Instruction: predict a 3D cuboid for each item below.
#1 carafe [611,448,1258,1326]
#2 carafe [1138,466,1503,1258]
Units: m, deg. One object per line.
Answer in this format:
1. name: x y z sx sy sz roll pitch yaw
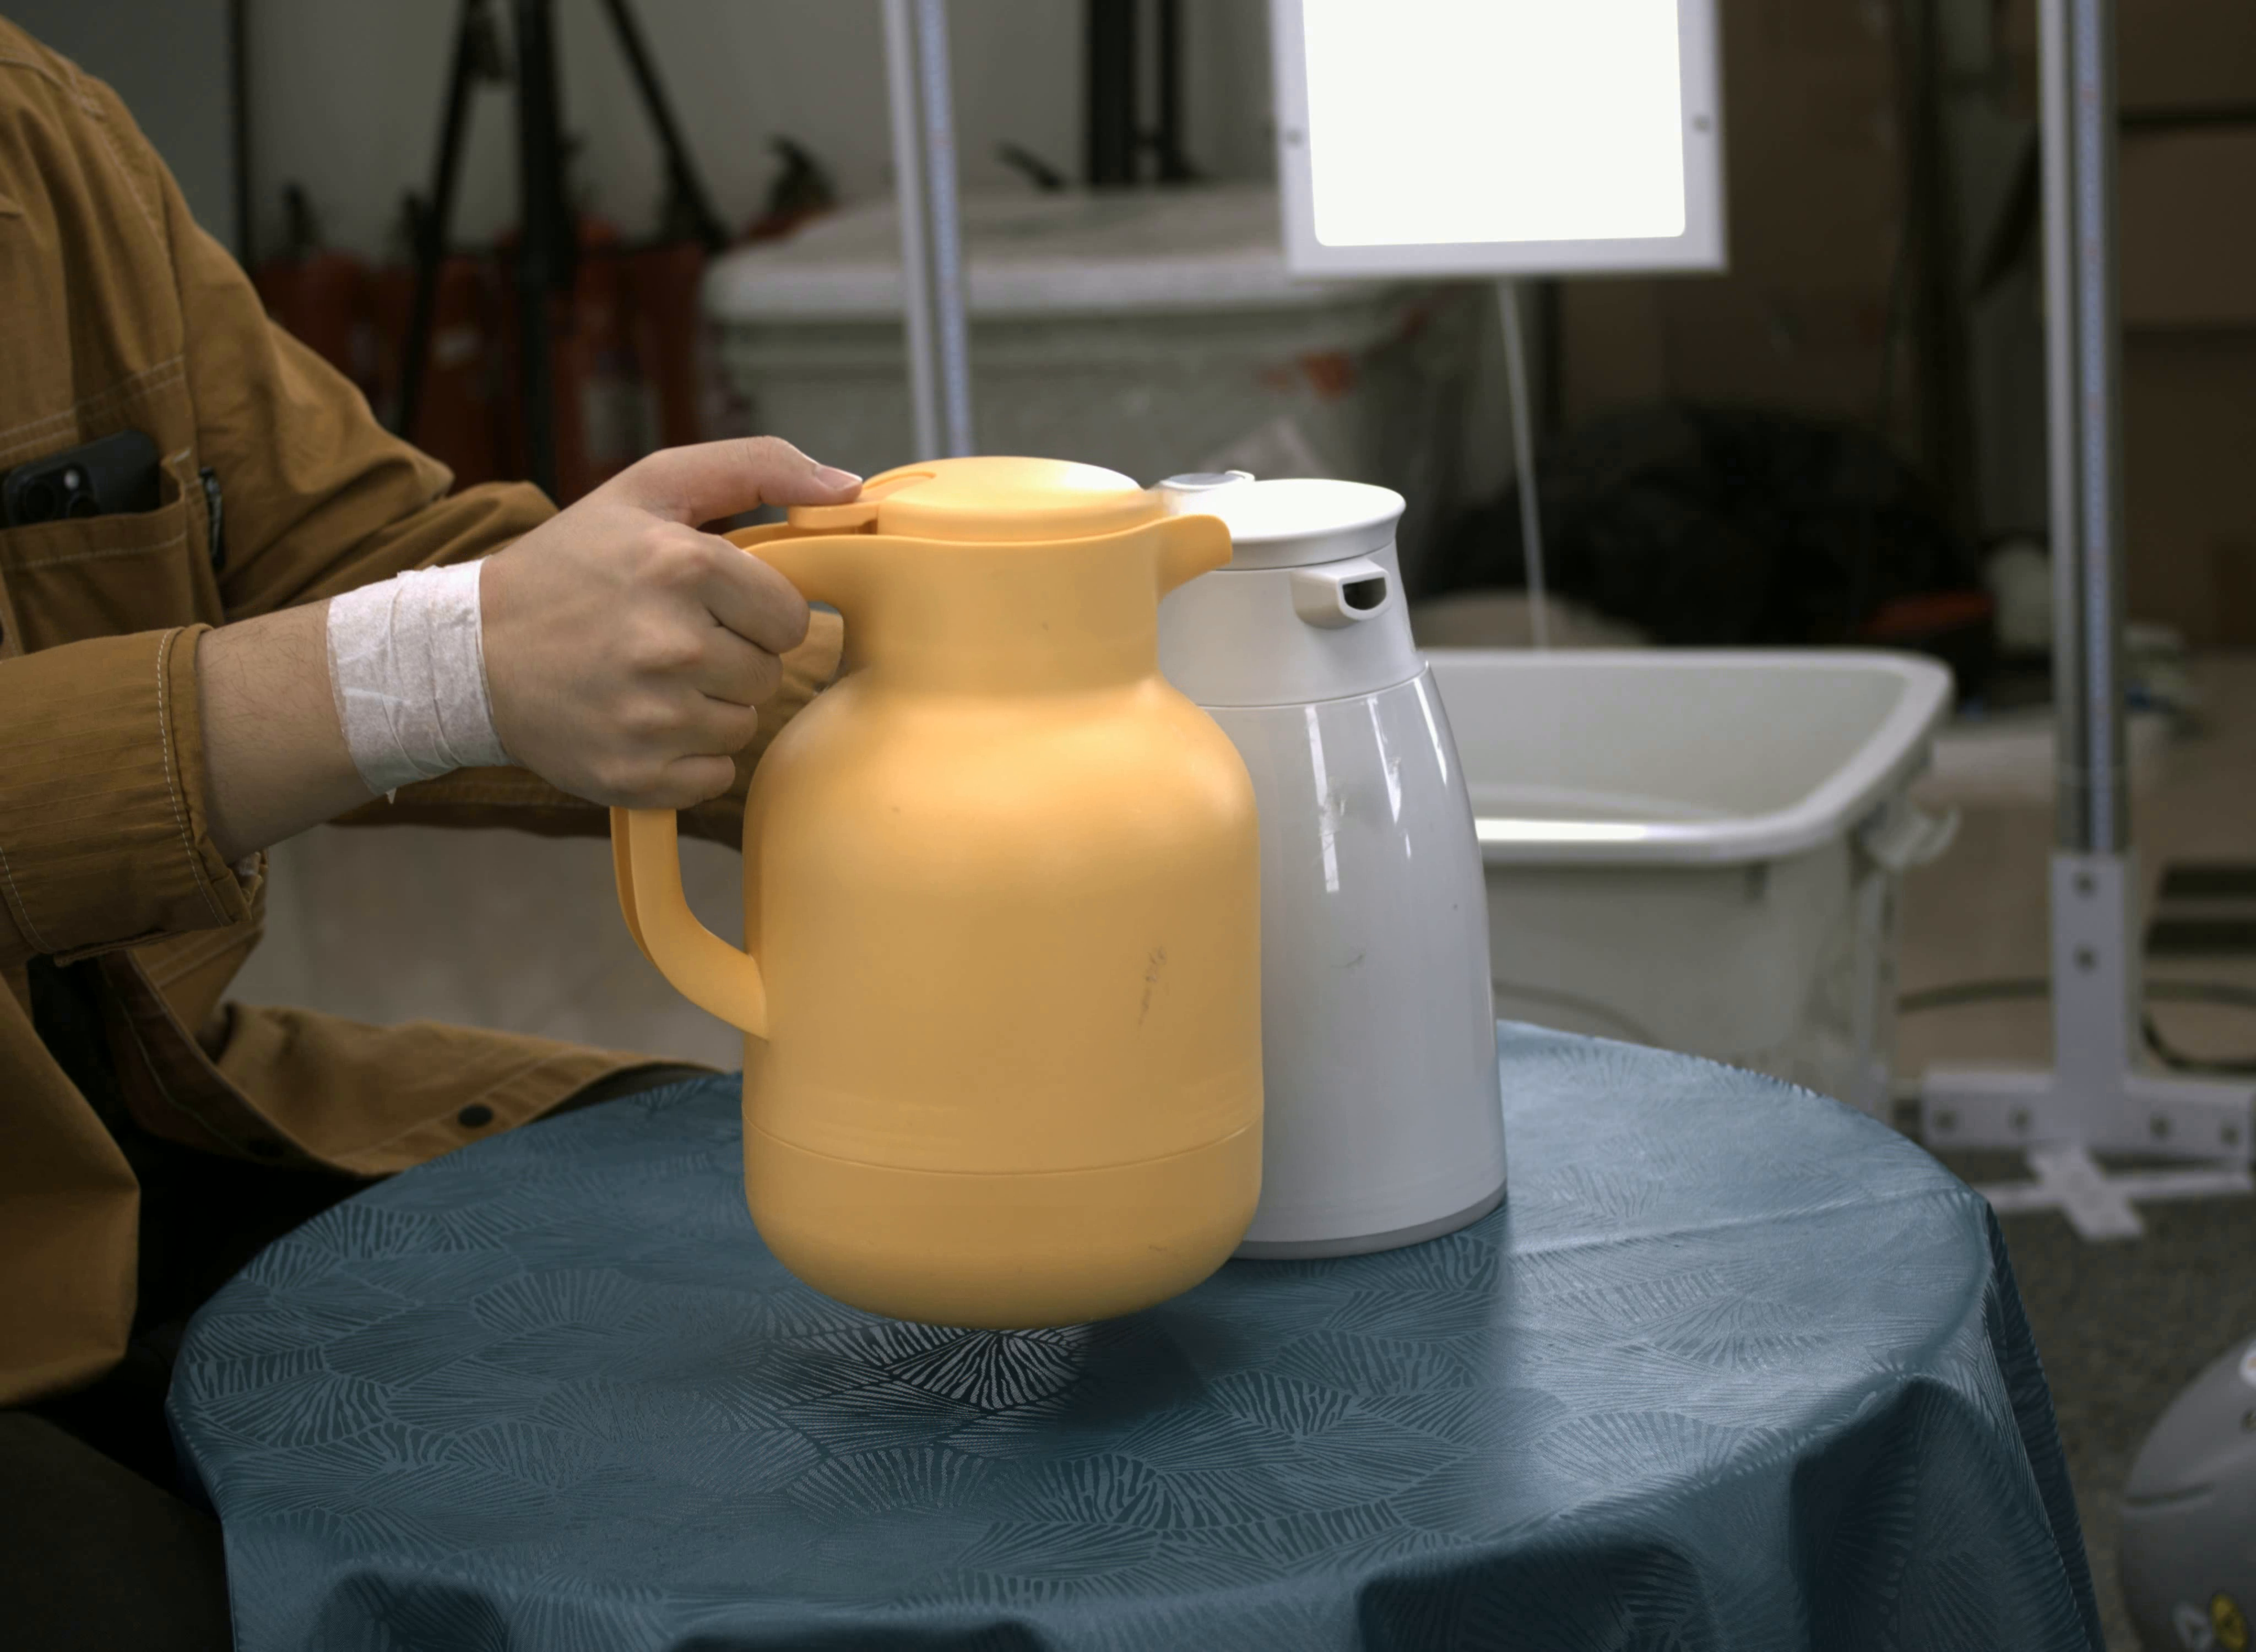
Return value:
1. carafe: -0.059 0.016 1.699 0.199 0.261 0.165 -2 11 -15
2. carafe: 0.044 0.004 1.860 0.130 0.249 0.170 -11 15 -26
